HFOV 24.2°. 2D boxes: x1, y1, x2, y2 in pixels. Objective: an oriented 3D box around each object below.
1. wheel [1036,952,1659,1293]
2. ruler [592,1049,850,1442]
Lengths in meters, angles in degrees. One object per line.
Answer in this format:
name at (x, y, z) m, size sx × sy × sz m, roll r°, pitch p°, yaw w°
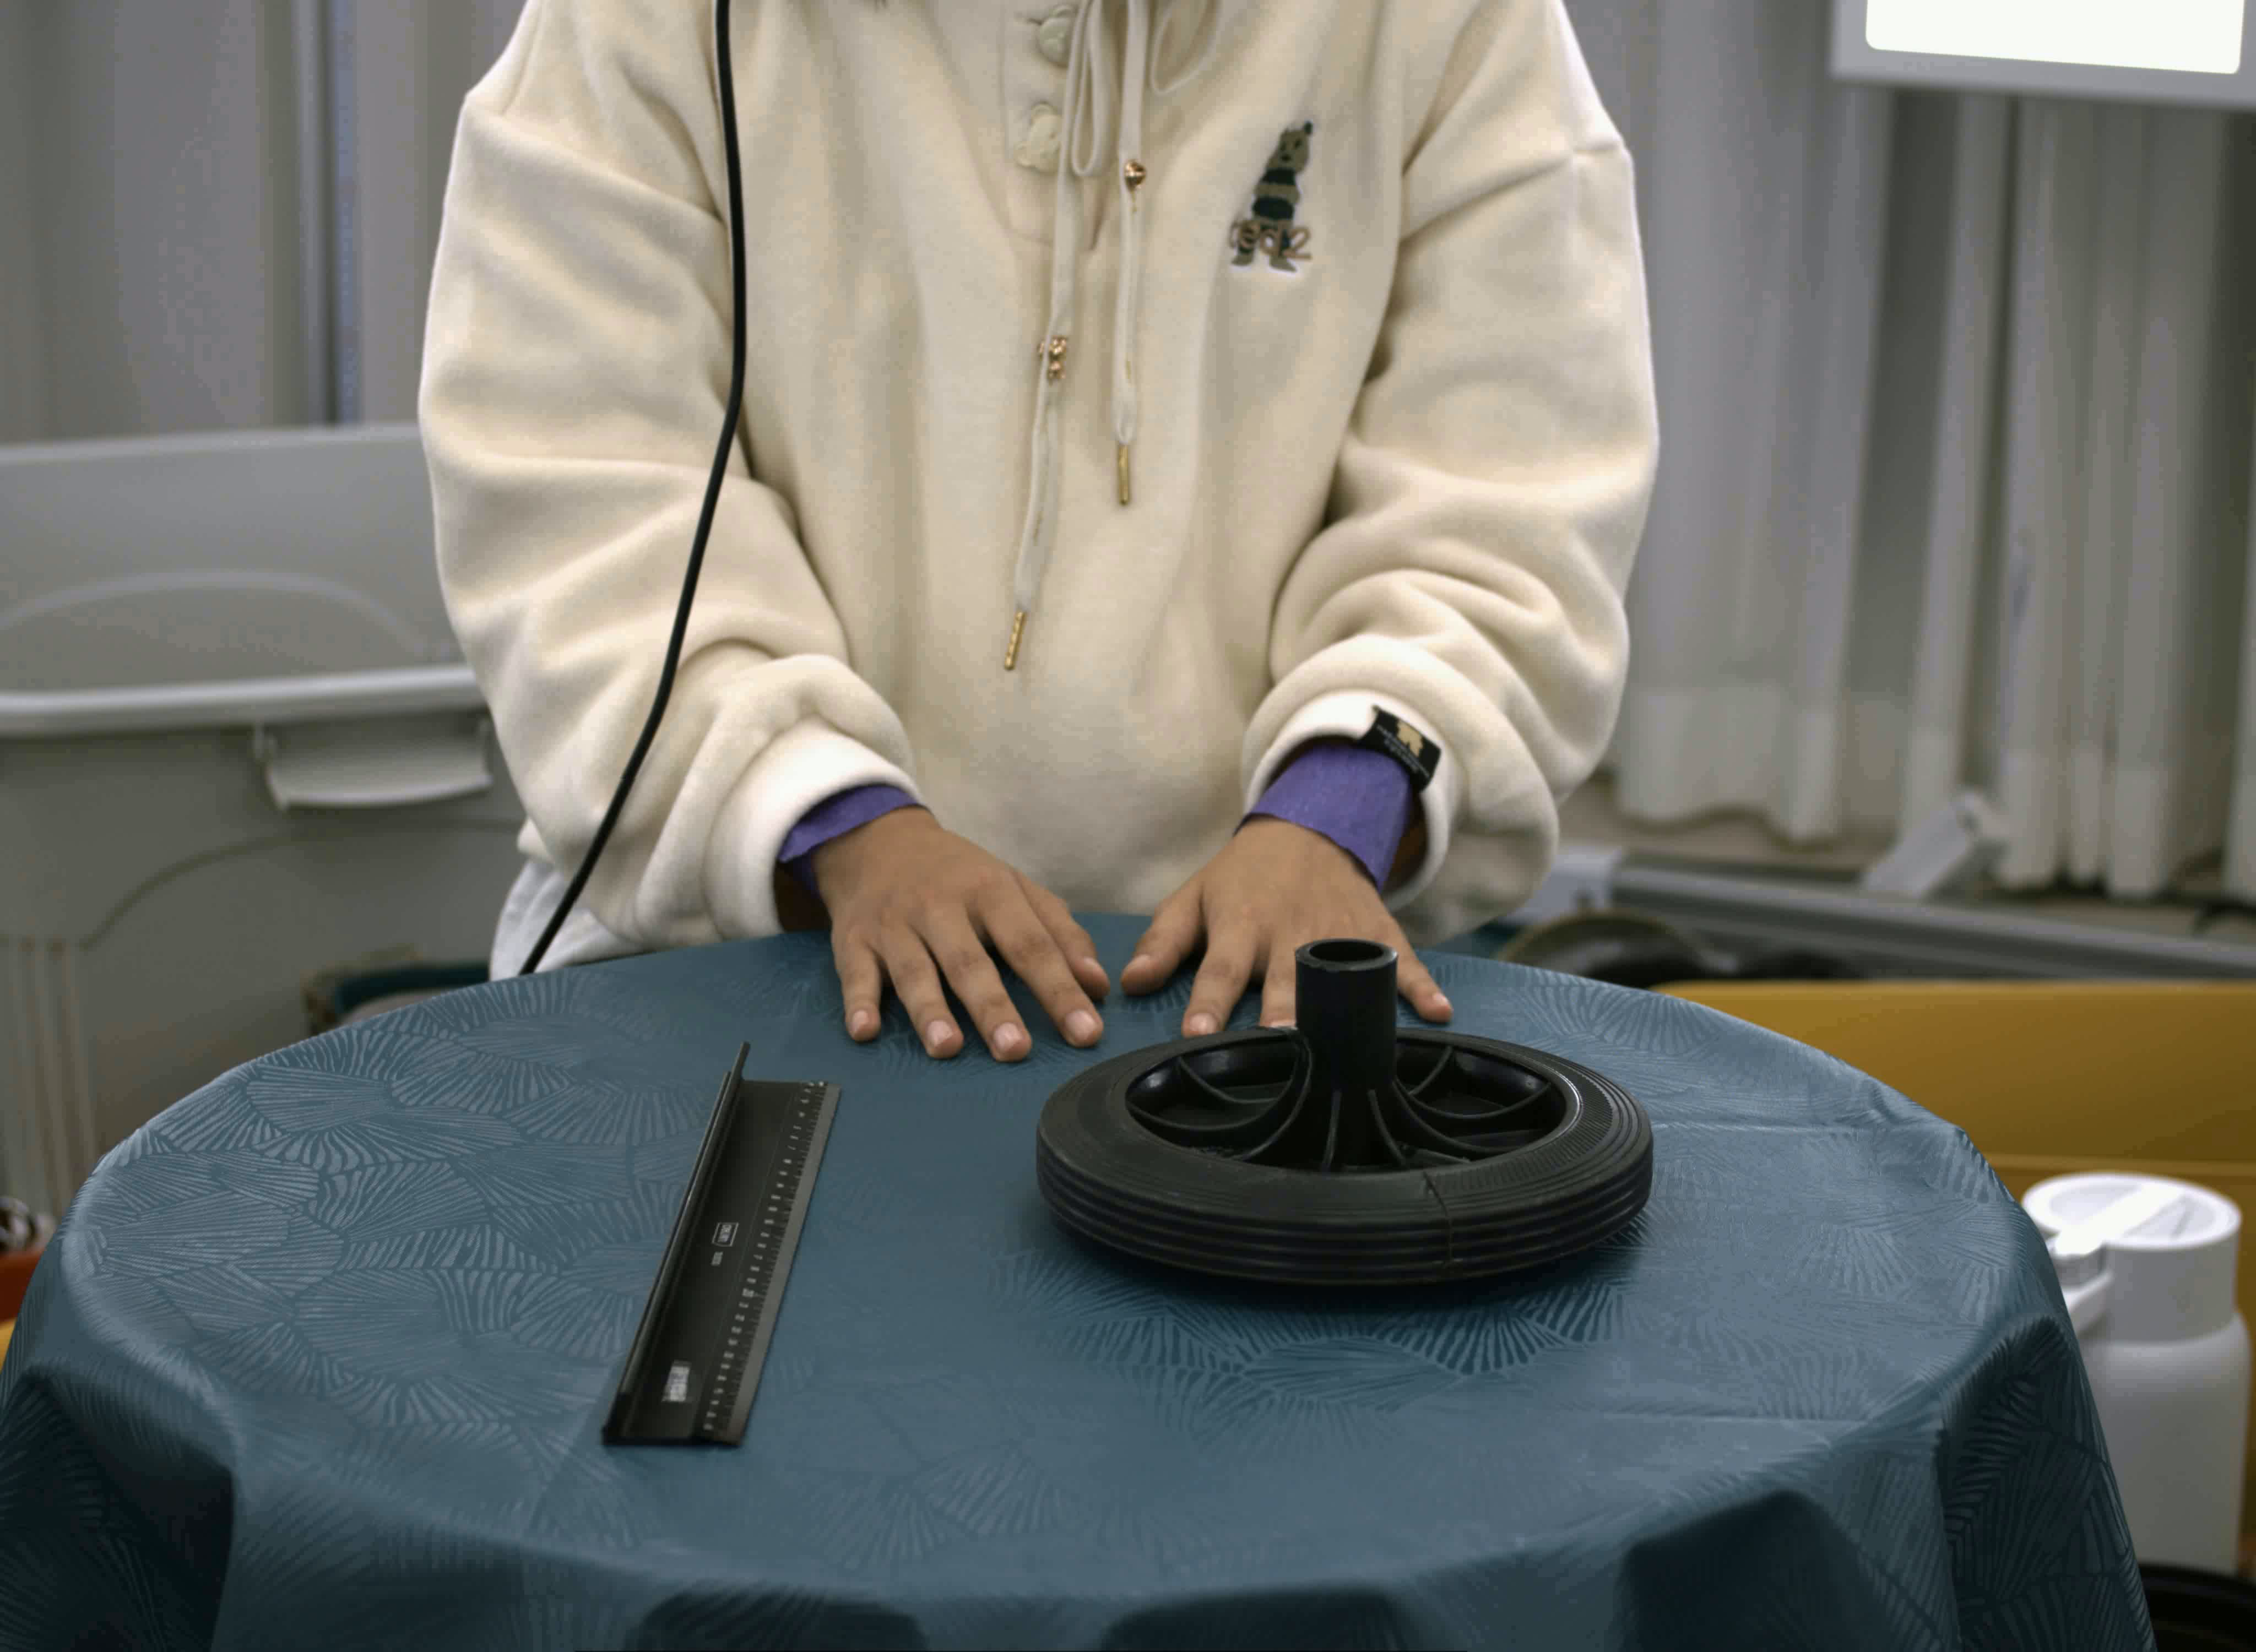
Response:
wheel at (0.067, 0.080, 1.596) m, size 0.188 × 0.080 × 0.187 m, roll 6°, pitch 17°, yaw 18°
ruler at (-0.117, 0.119, 1.563) m, size 0.039 × 0.017 × 0.311 m, roll 5°, pitch 15°, yaw 2°
